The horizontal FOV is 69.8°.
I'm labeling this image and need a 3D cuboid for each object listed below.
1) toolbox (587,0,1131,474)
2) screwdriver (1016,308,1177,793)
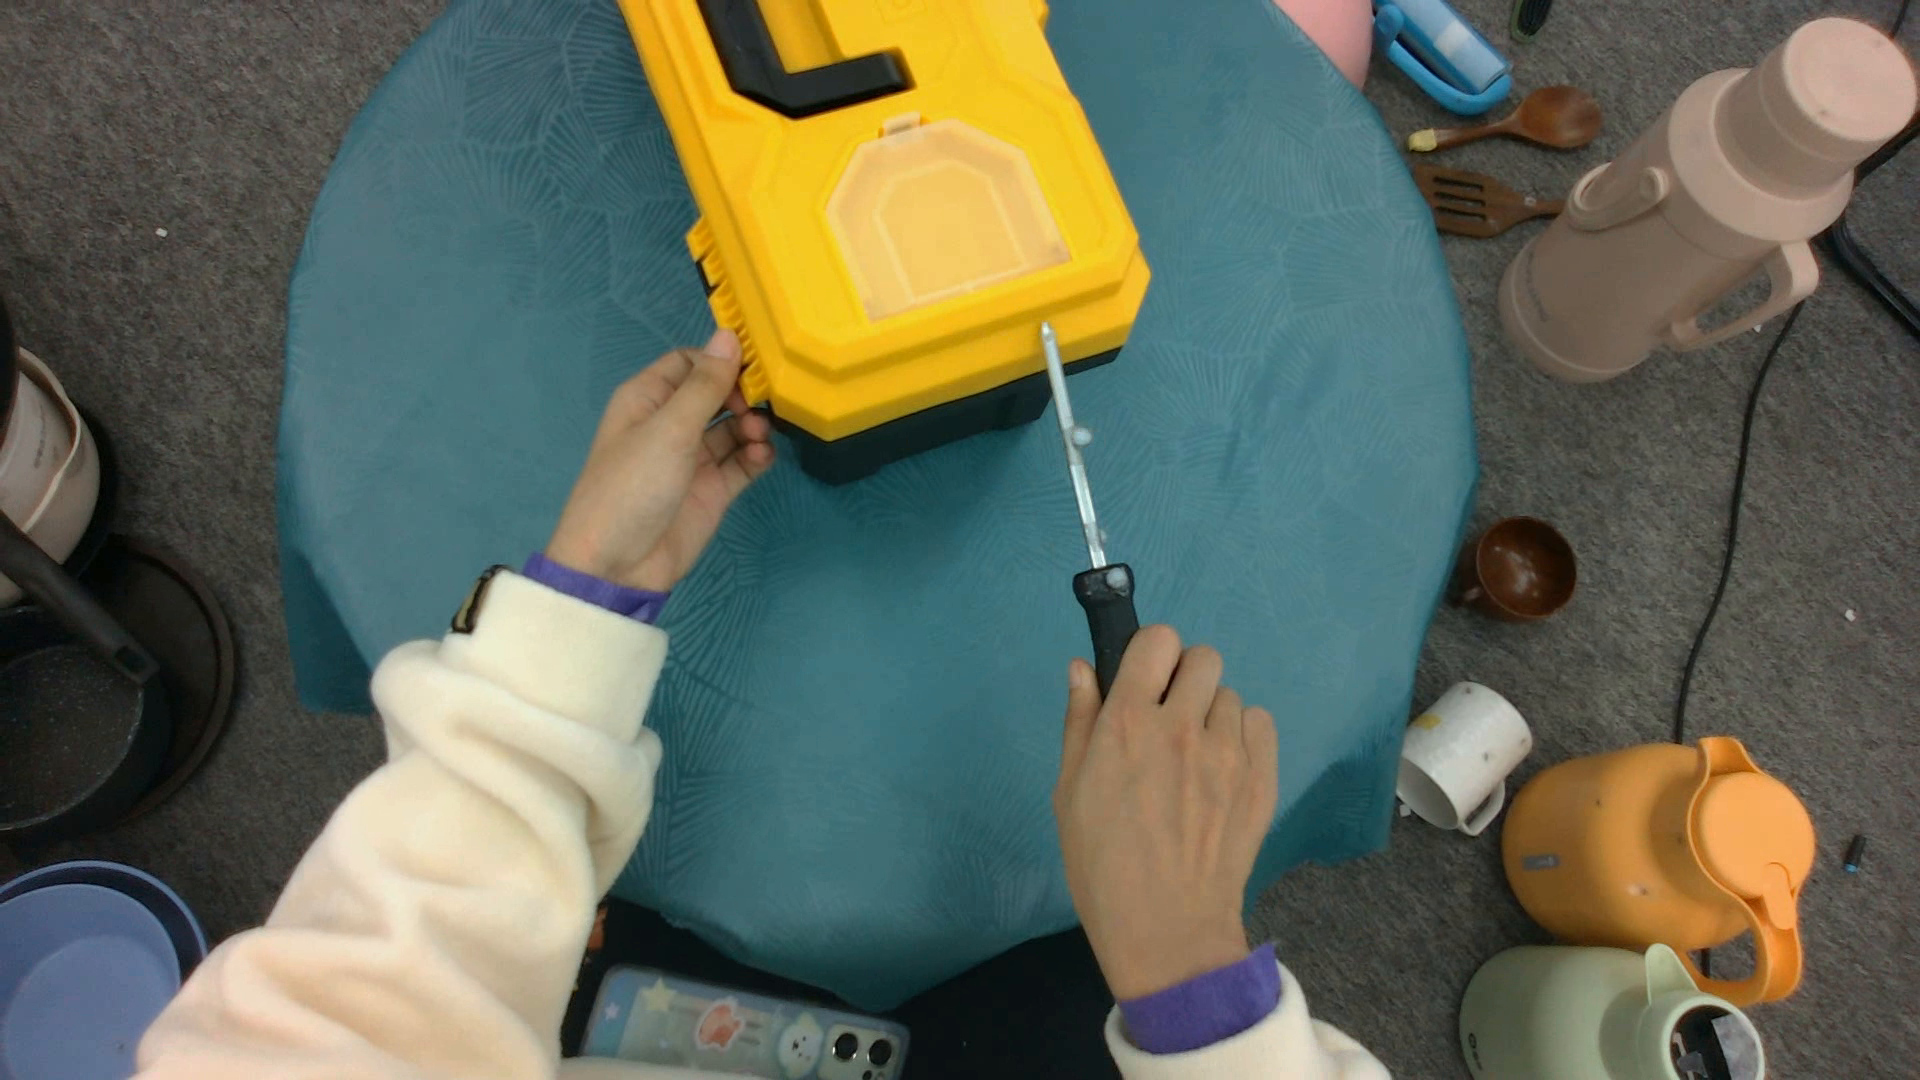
[{"bbox_3d":[-0.069,-0.215,0.637,0.181,0.172,0.352,-19,77,-12],"label":"toolbox"},{"bbox_3d":[0.052,0.002,0.537,0.031,0.031,0.196,-13,90,-11],"label":"screwdriver"}]
